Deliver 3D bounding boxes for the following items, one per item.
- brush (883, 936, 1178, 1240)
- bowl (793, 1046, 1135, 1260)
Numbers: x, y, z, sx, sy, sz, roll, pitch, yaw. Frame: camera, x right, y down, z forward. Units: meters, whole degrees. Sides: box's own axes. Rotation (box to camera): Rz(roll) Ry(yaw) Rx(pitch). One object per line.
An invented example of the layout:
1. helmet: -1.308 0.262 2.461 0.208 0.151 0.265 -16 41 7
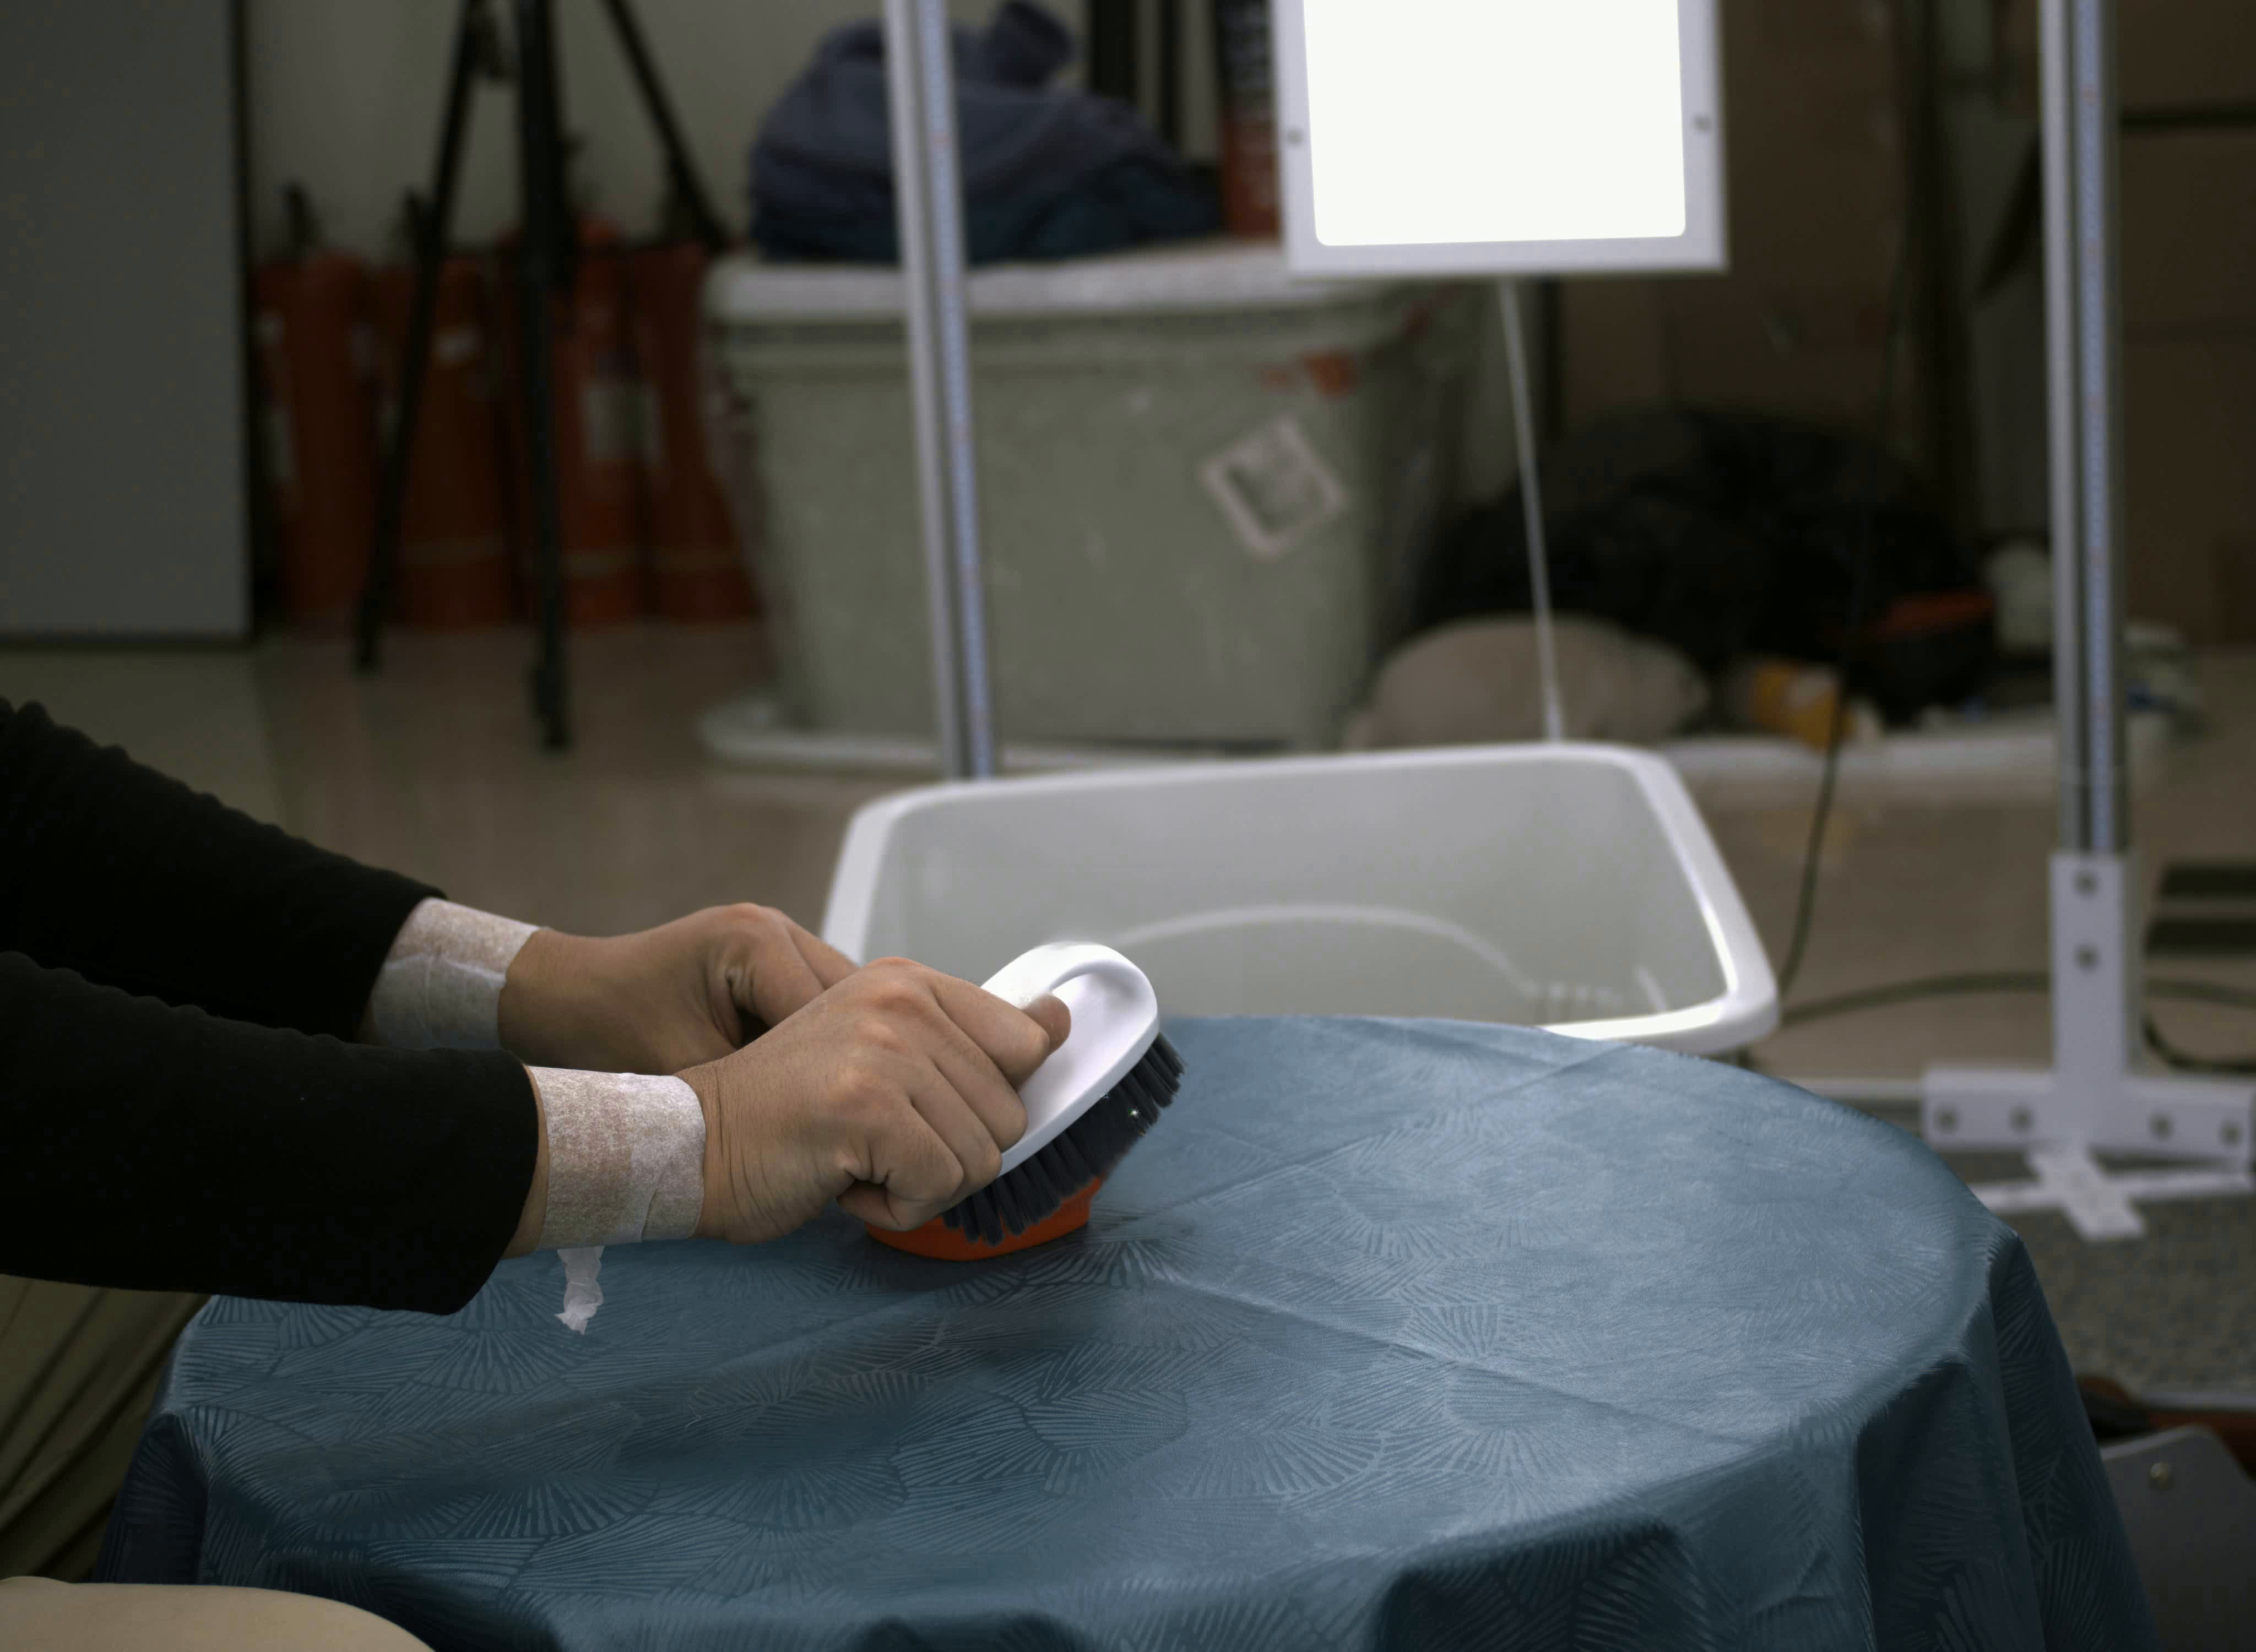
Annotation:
1. brush: -0.035 0.076 1.750 0.098 0.072 0.051 -37 48 -16
2. bowl: -0.053 0.112 1.870 0.118 0.051 0.119 -4 13 0
